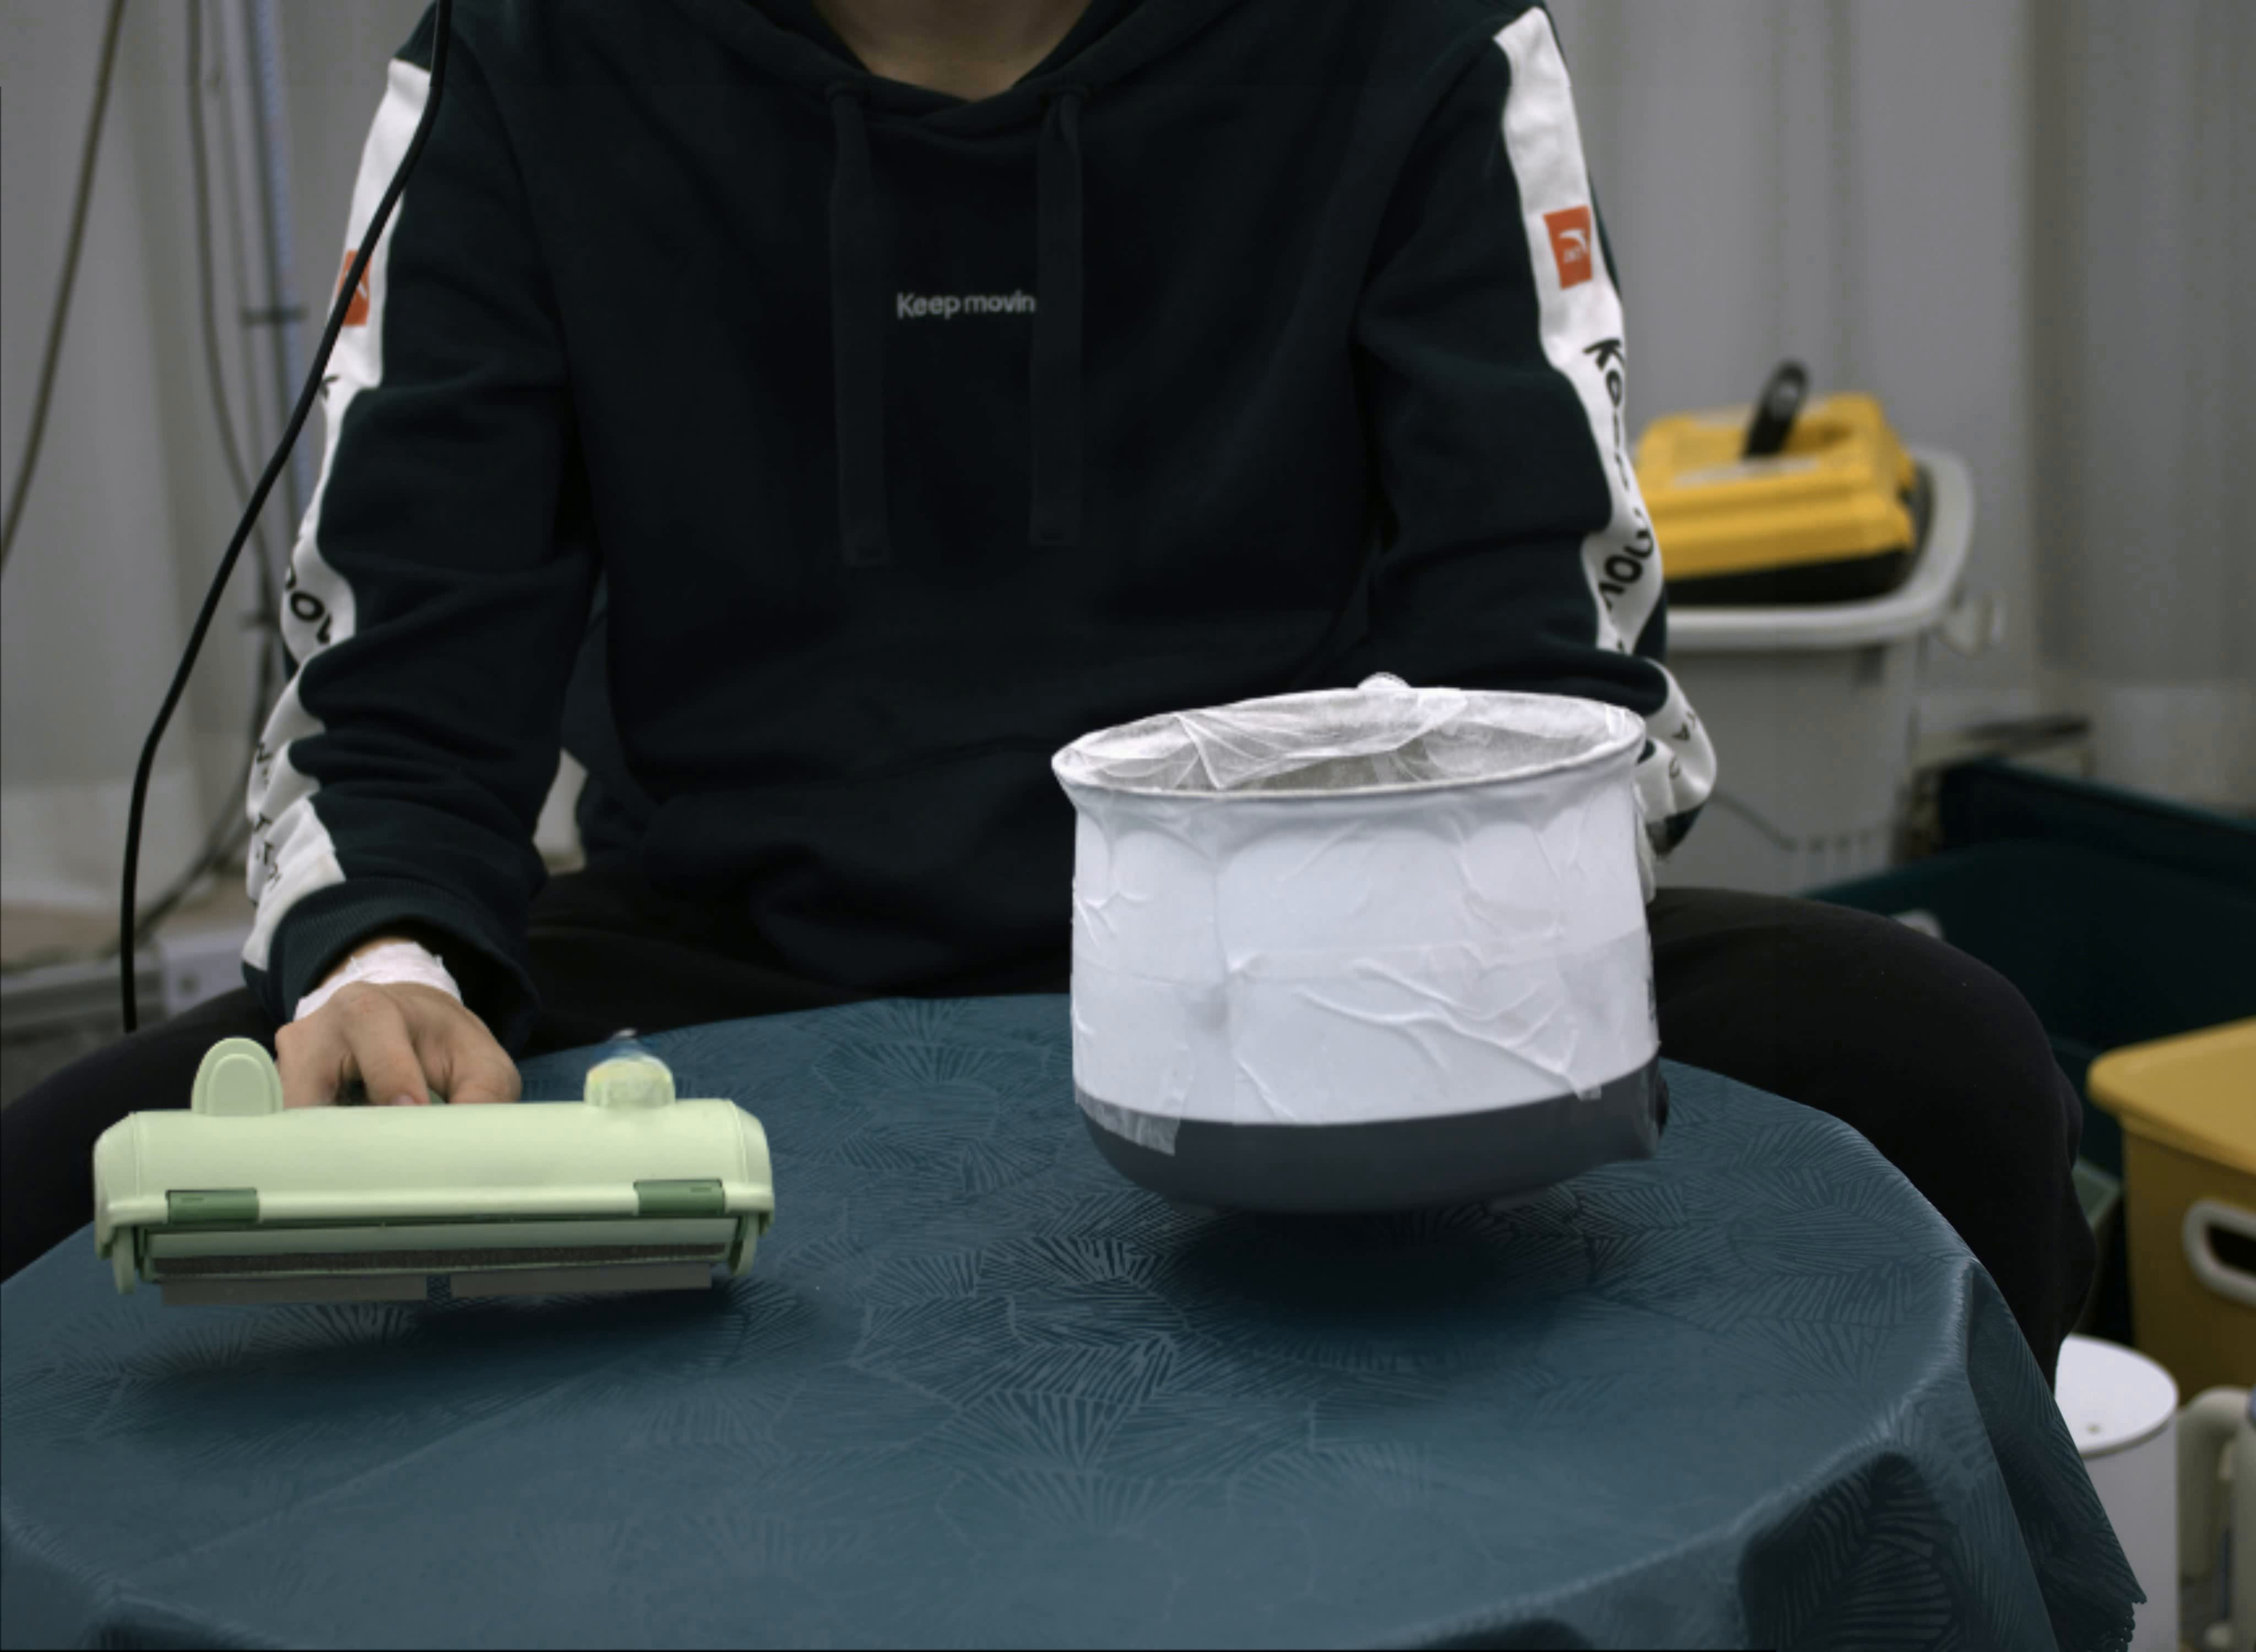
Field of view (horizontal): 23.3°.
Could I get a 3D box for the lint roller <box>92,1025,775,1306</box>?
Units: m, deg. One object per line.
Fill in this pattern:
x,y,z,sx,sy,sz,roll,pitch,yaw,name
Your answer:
-0.217,0.087,1.660,0.197,0.082,0.185,-1,17,-13,lint roller

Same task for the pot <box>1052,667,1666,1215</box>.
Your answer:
0.073,0.031,1.659,0.178,0.136,0.234,-2,10,8,pot
